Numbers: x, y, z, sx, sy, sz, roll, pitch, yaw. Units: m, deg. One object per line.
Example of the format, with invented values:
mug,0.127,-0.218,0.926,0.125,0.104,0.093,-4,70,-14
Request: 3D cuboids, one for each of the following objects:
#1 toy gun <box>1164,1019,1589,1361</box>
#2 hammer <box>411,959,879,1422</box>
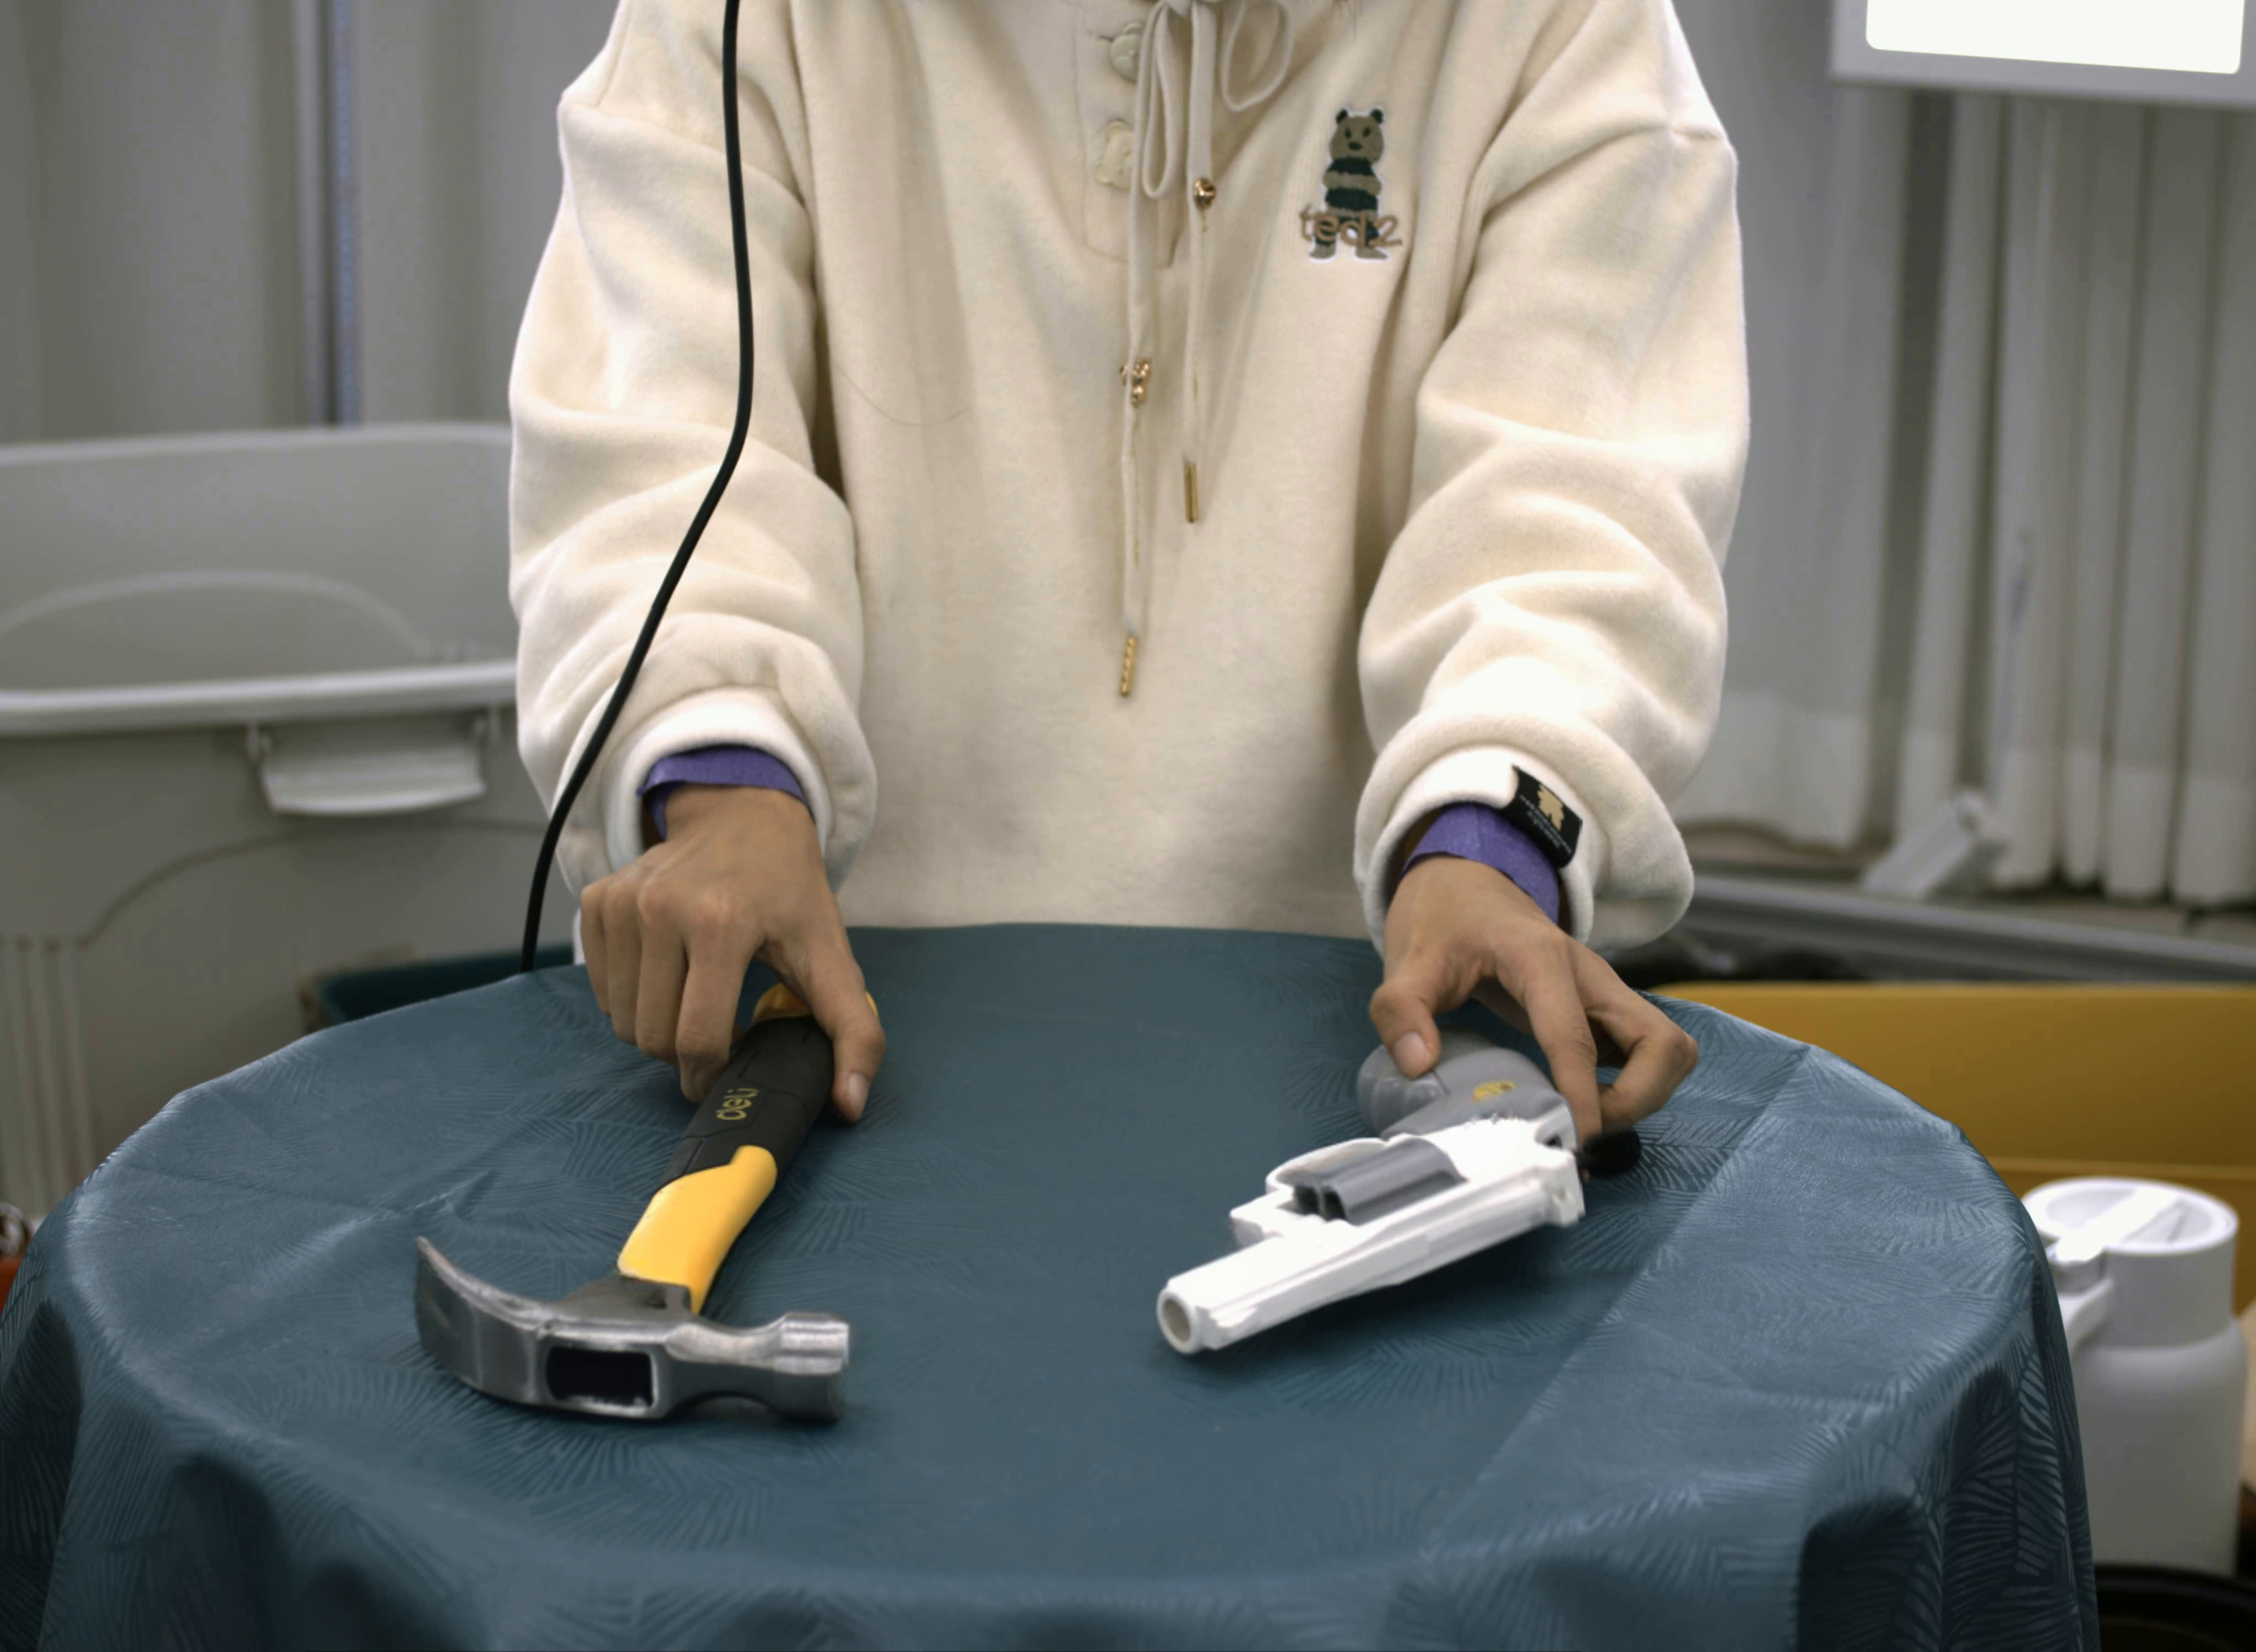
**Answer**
toy gun,0.067,0.106,1.572,0.210,0.039,0.140,-21,16,-34
hammer,-0.122,0.102,1.586,0.130,0.032,0.337,0,17,7
